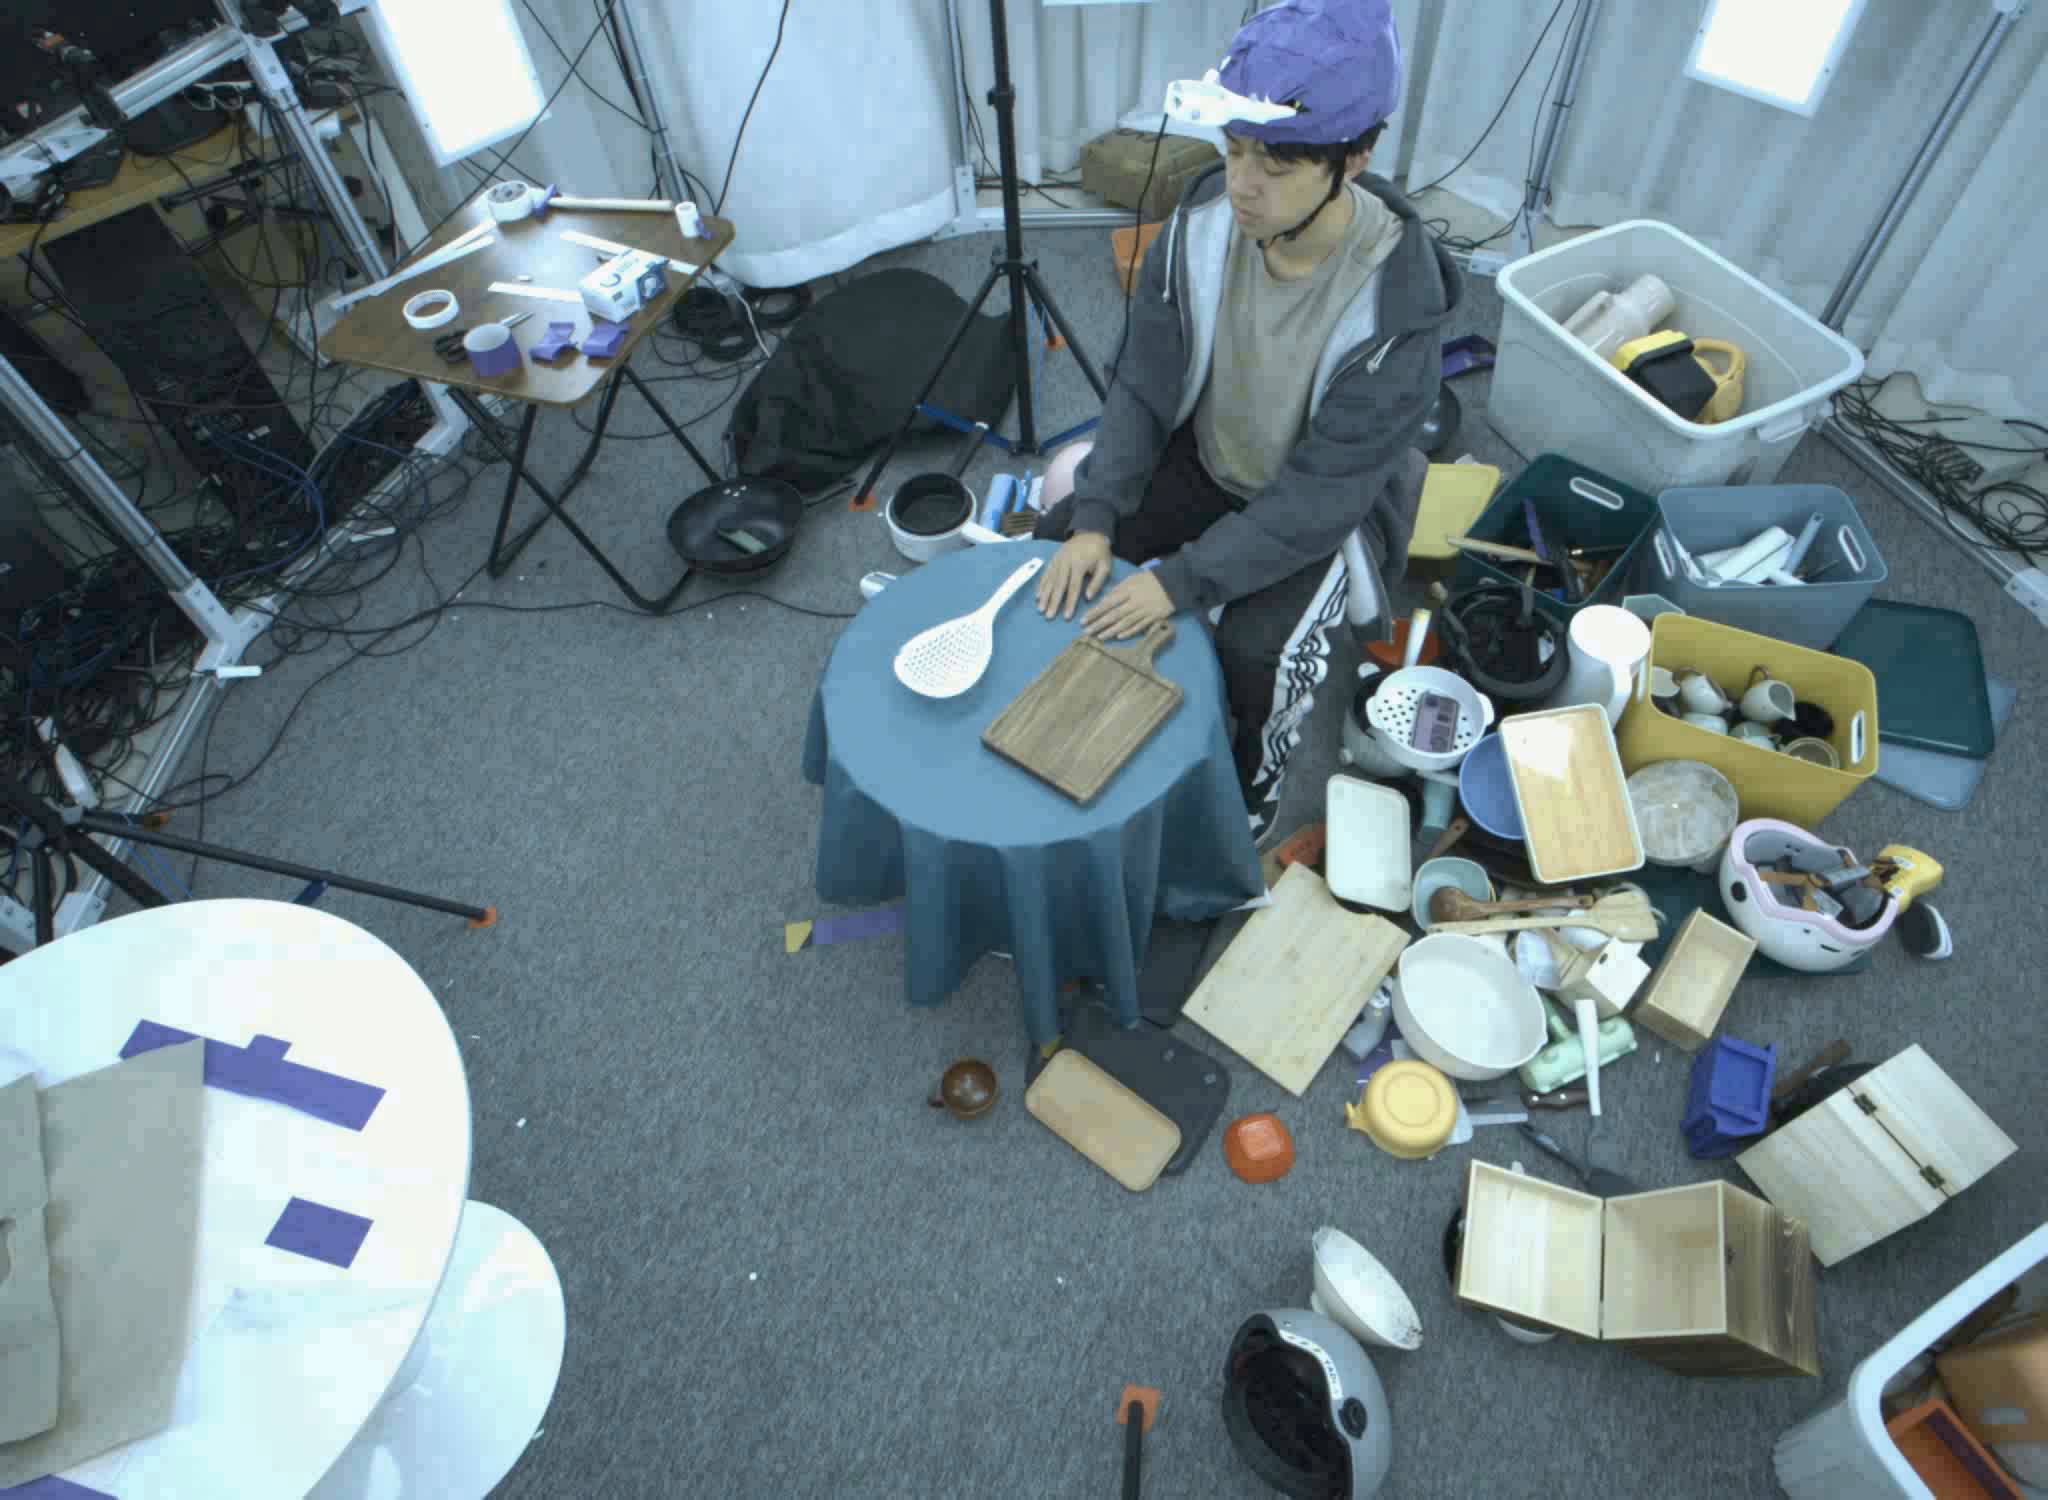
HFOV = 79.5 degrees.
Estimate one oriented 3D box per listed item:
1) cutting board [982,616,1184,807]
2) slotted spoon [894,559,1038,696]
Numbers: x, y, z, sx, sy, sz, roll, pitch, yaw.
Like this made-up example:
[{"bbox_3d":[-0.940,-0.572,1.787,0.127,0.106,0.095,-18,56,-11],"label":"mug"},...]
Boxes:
[{"bbox_3d":[0.119,-0.082,1.832,0.198,0.023,0.354,32,62,21],"label":"cutting board"},{"bbox_3d":[-0.067,-0.200,1.909,0.135,0.051,0.349,24,59,21],"label":"slotted spoon"}]
